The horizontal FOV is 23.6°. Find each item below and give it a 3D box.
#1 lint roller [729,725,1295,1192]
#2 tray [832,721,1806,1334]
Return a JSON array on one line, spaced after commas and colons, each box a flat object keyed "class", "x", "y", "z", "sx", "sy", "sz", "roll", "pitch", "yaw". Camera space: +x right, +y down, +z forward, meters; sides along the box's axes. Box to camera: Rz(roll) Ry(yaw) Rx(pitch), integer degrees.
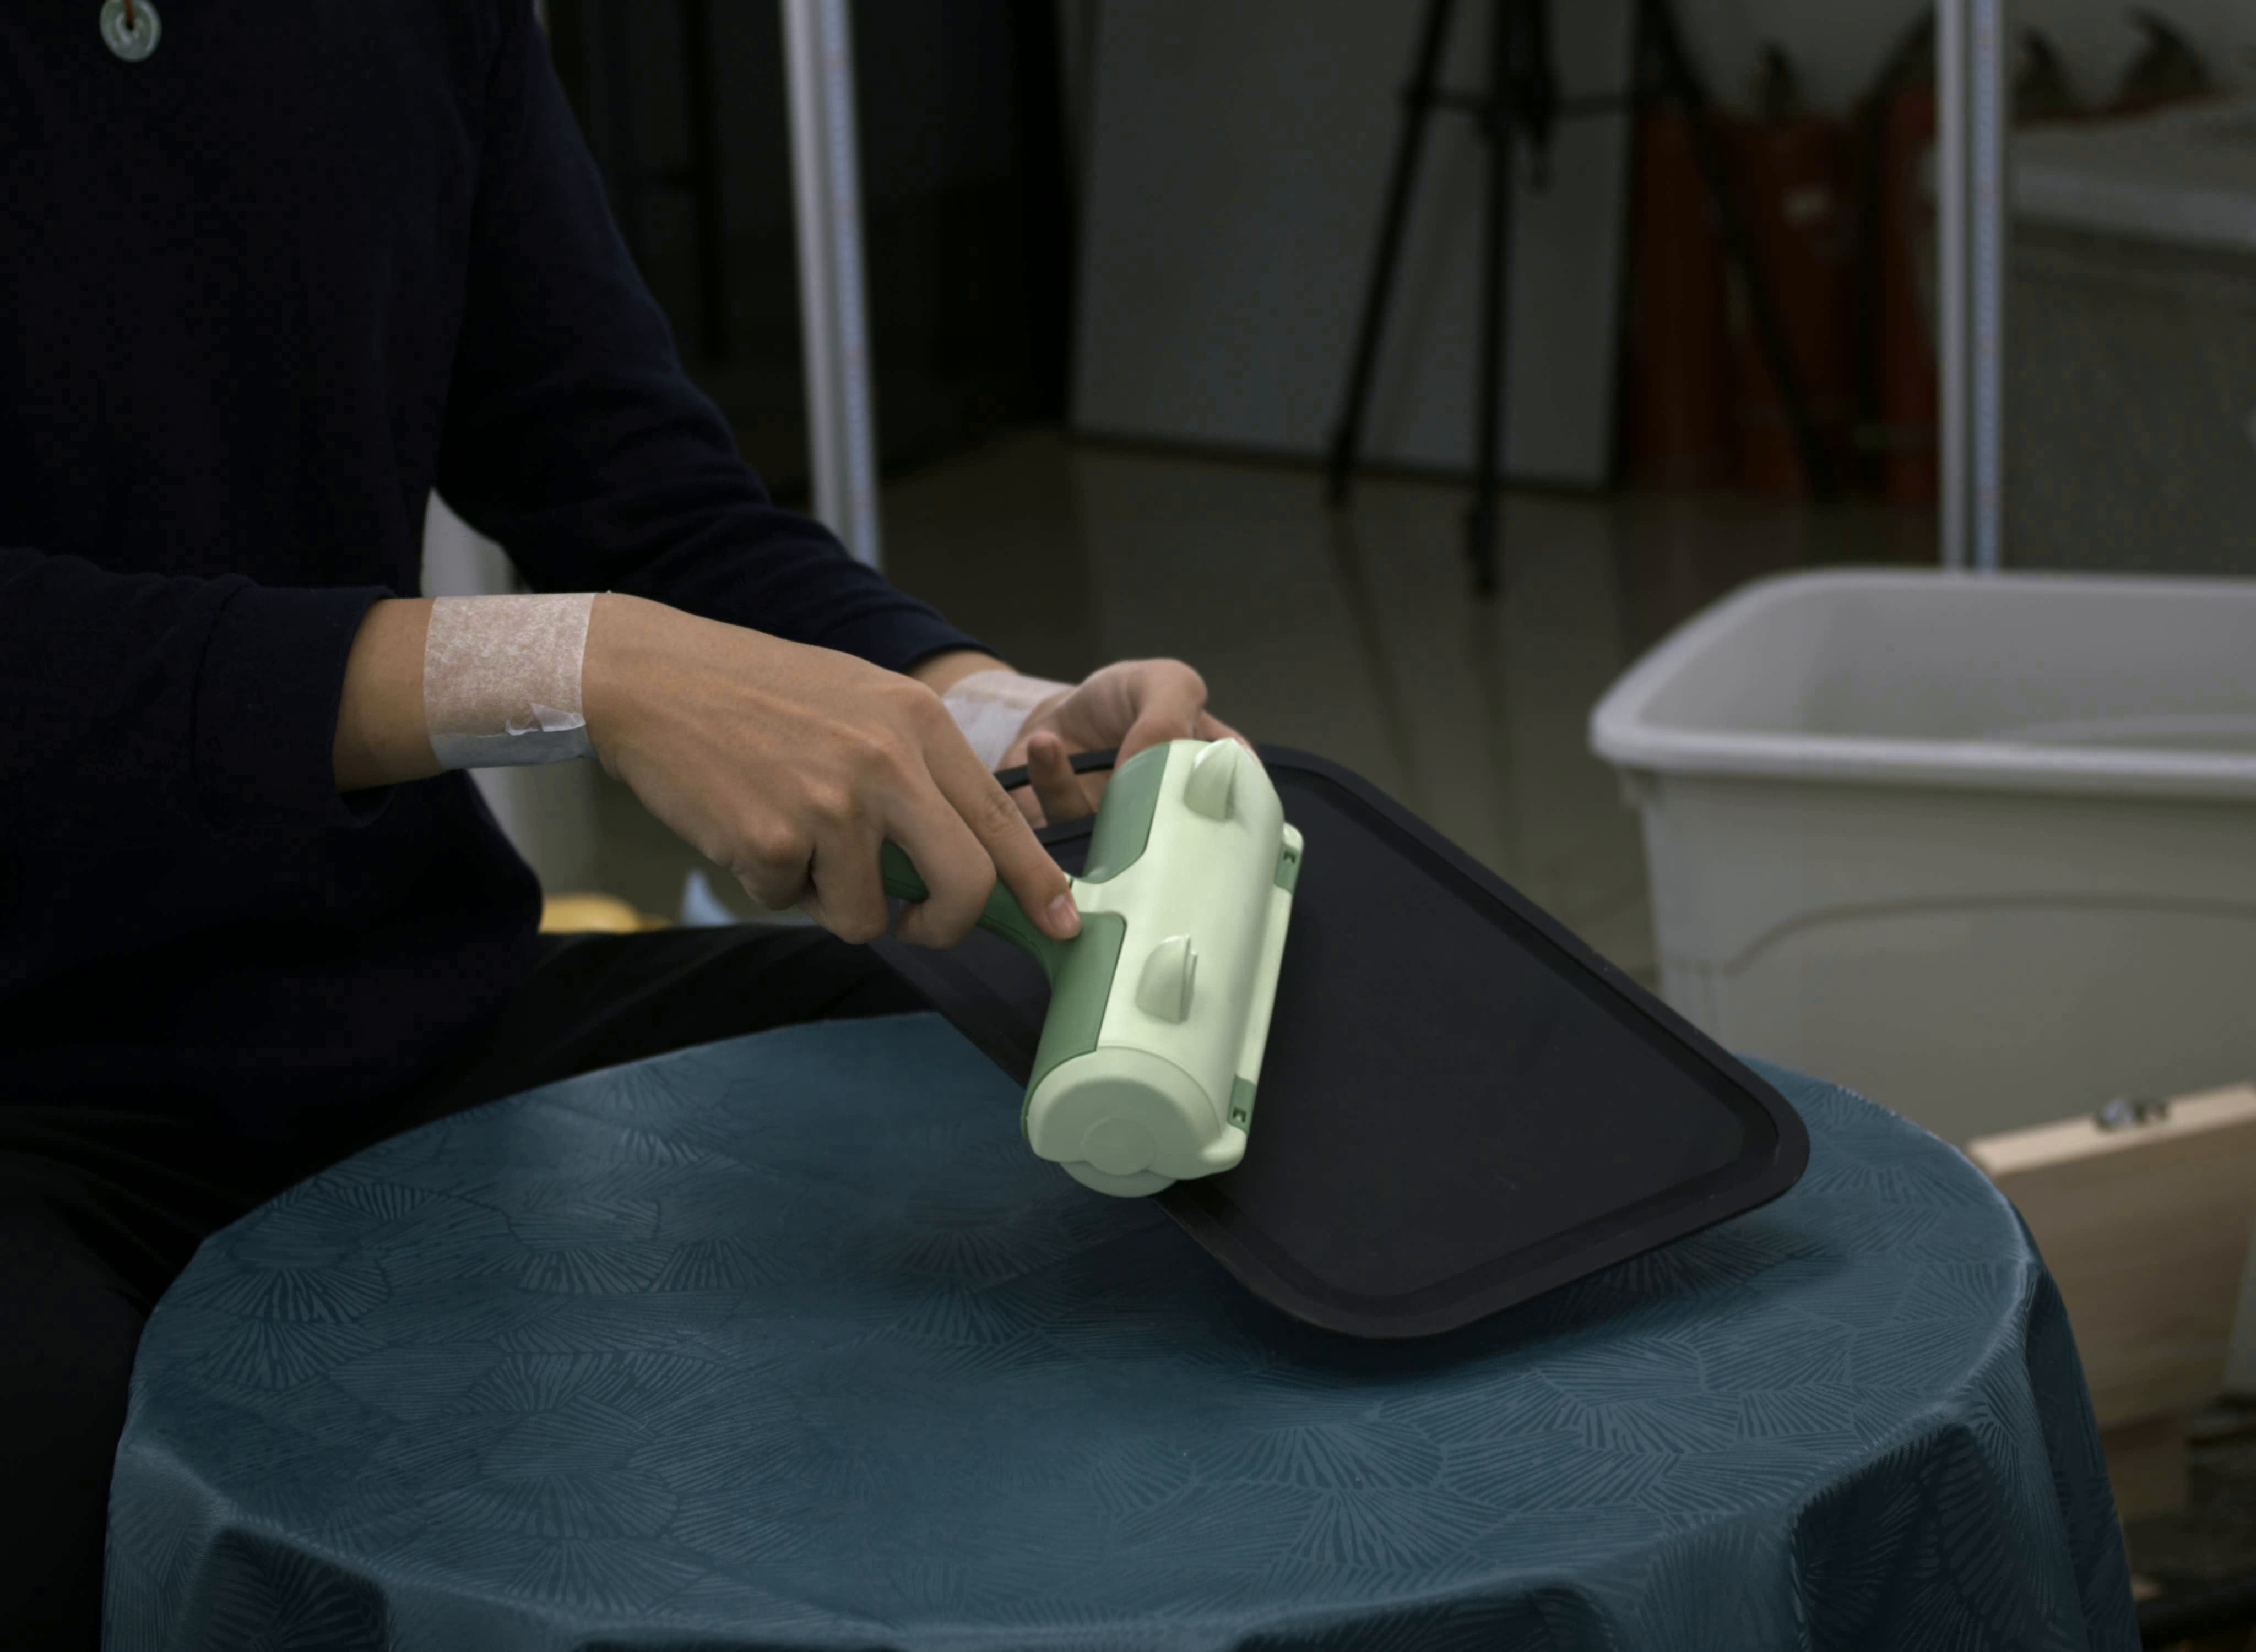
[{"class": "lint roller", "x": -0.031, "y": 0.005, "z": 1.675, "sx": 0.181, "sy": 0.083, "sz": 0.199, "roll": 33, "pitch": 31, "yaw": -12}, {"class": "tray", "x": 0.052, "y": 0.053, "z": 1.720, "sx": 0.207, "sy": 0.010, "sz": 0.329, "roll": -18, "pitch": 39, "yaw": -31}]
